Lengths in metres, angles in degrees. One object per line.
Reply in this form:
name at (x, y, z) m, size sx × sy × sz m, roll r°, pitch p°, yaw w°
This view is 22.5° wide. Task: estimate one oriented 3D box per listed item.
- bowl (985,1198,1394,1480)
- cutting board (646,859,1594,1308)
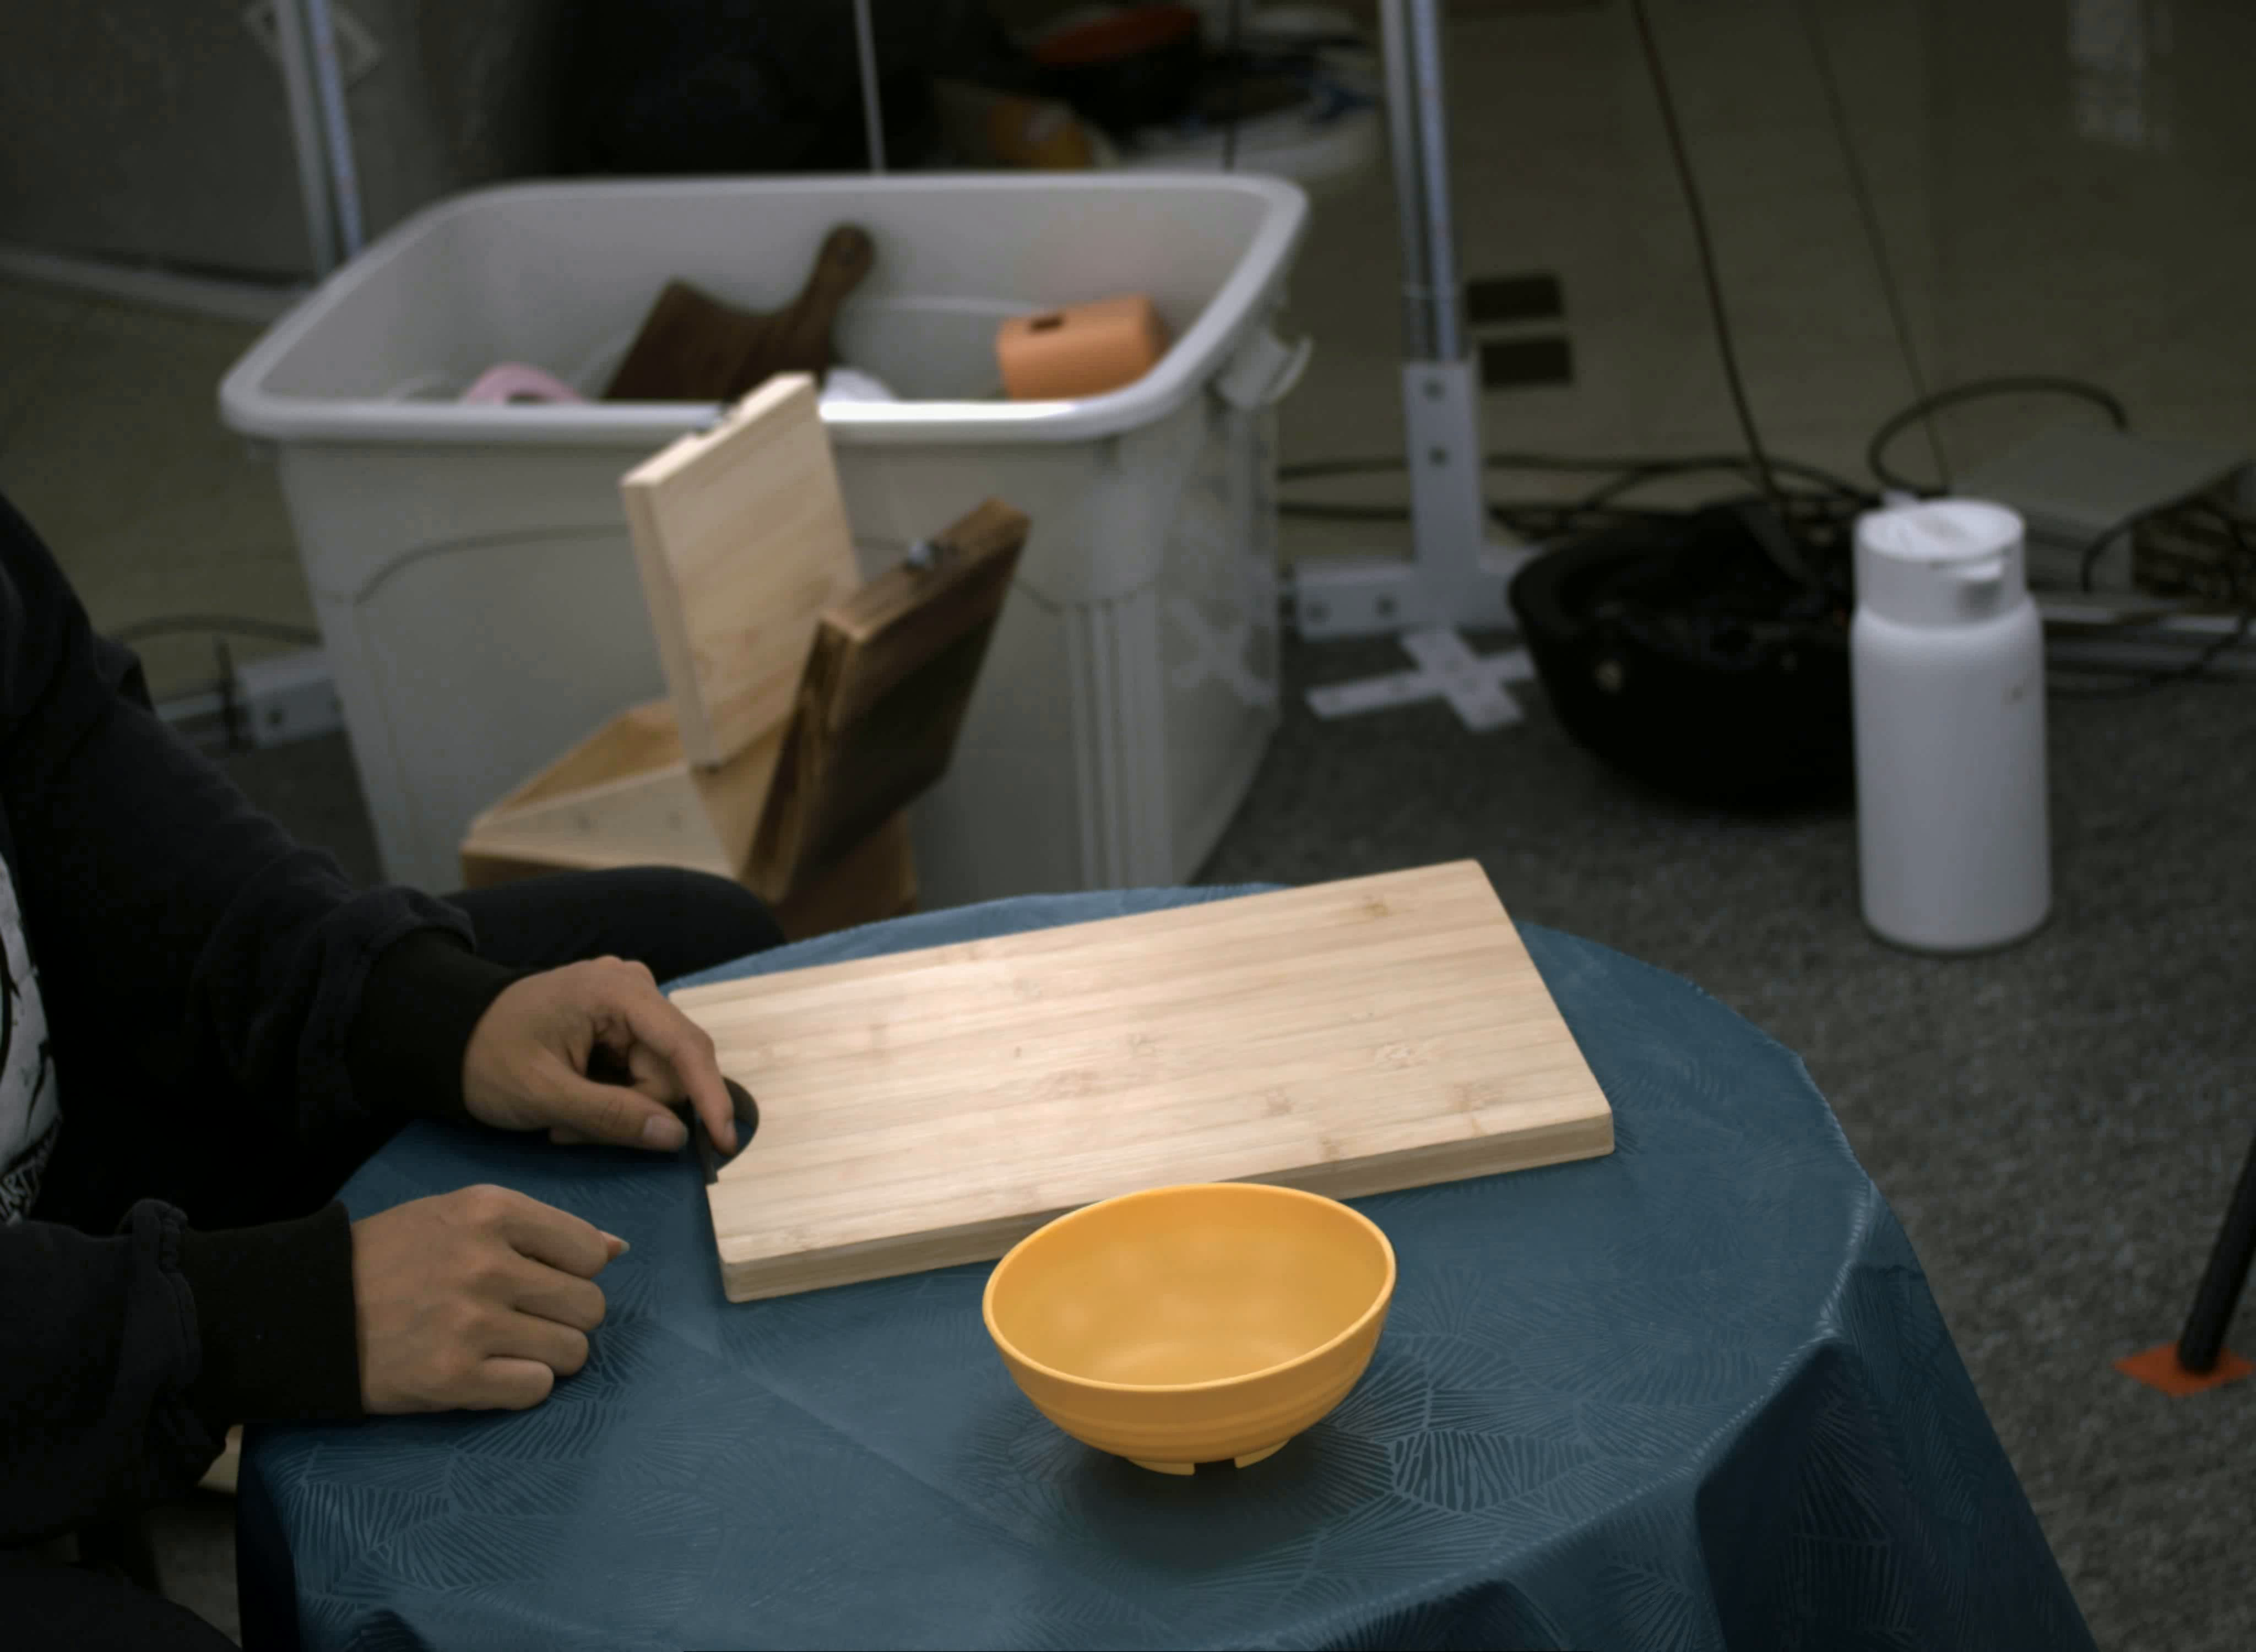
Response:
bowl at (0.025, 0.186, 1.978) m, size 0.145 × 0.061 × 0.143 m, roll -6°, pitch 22°, yaw 3°
cutting board at (-0.008, 0.097, 2.226) m, size 0.348 × 0.024 × 0.247 m, roll -10°, pitch 25°, yaw -7°
